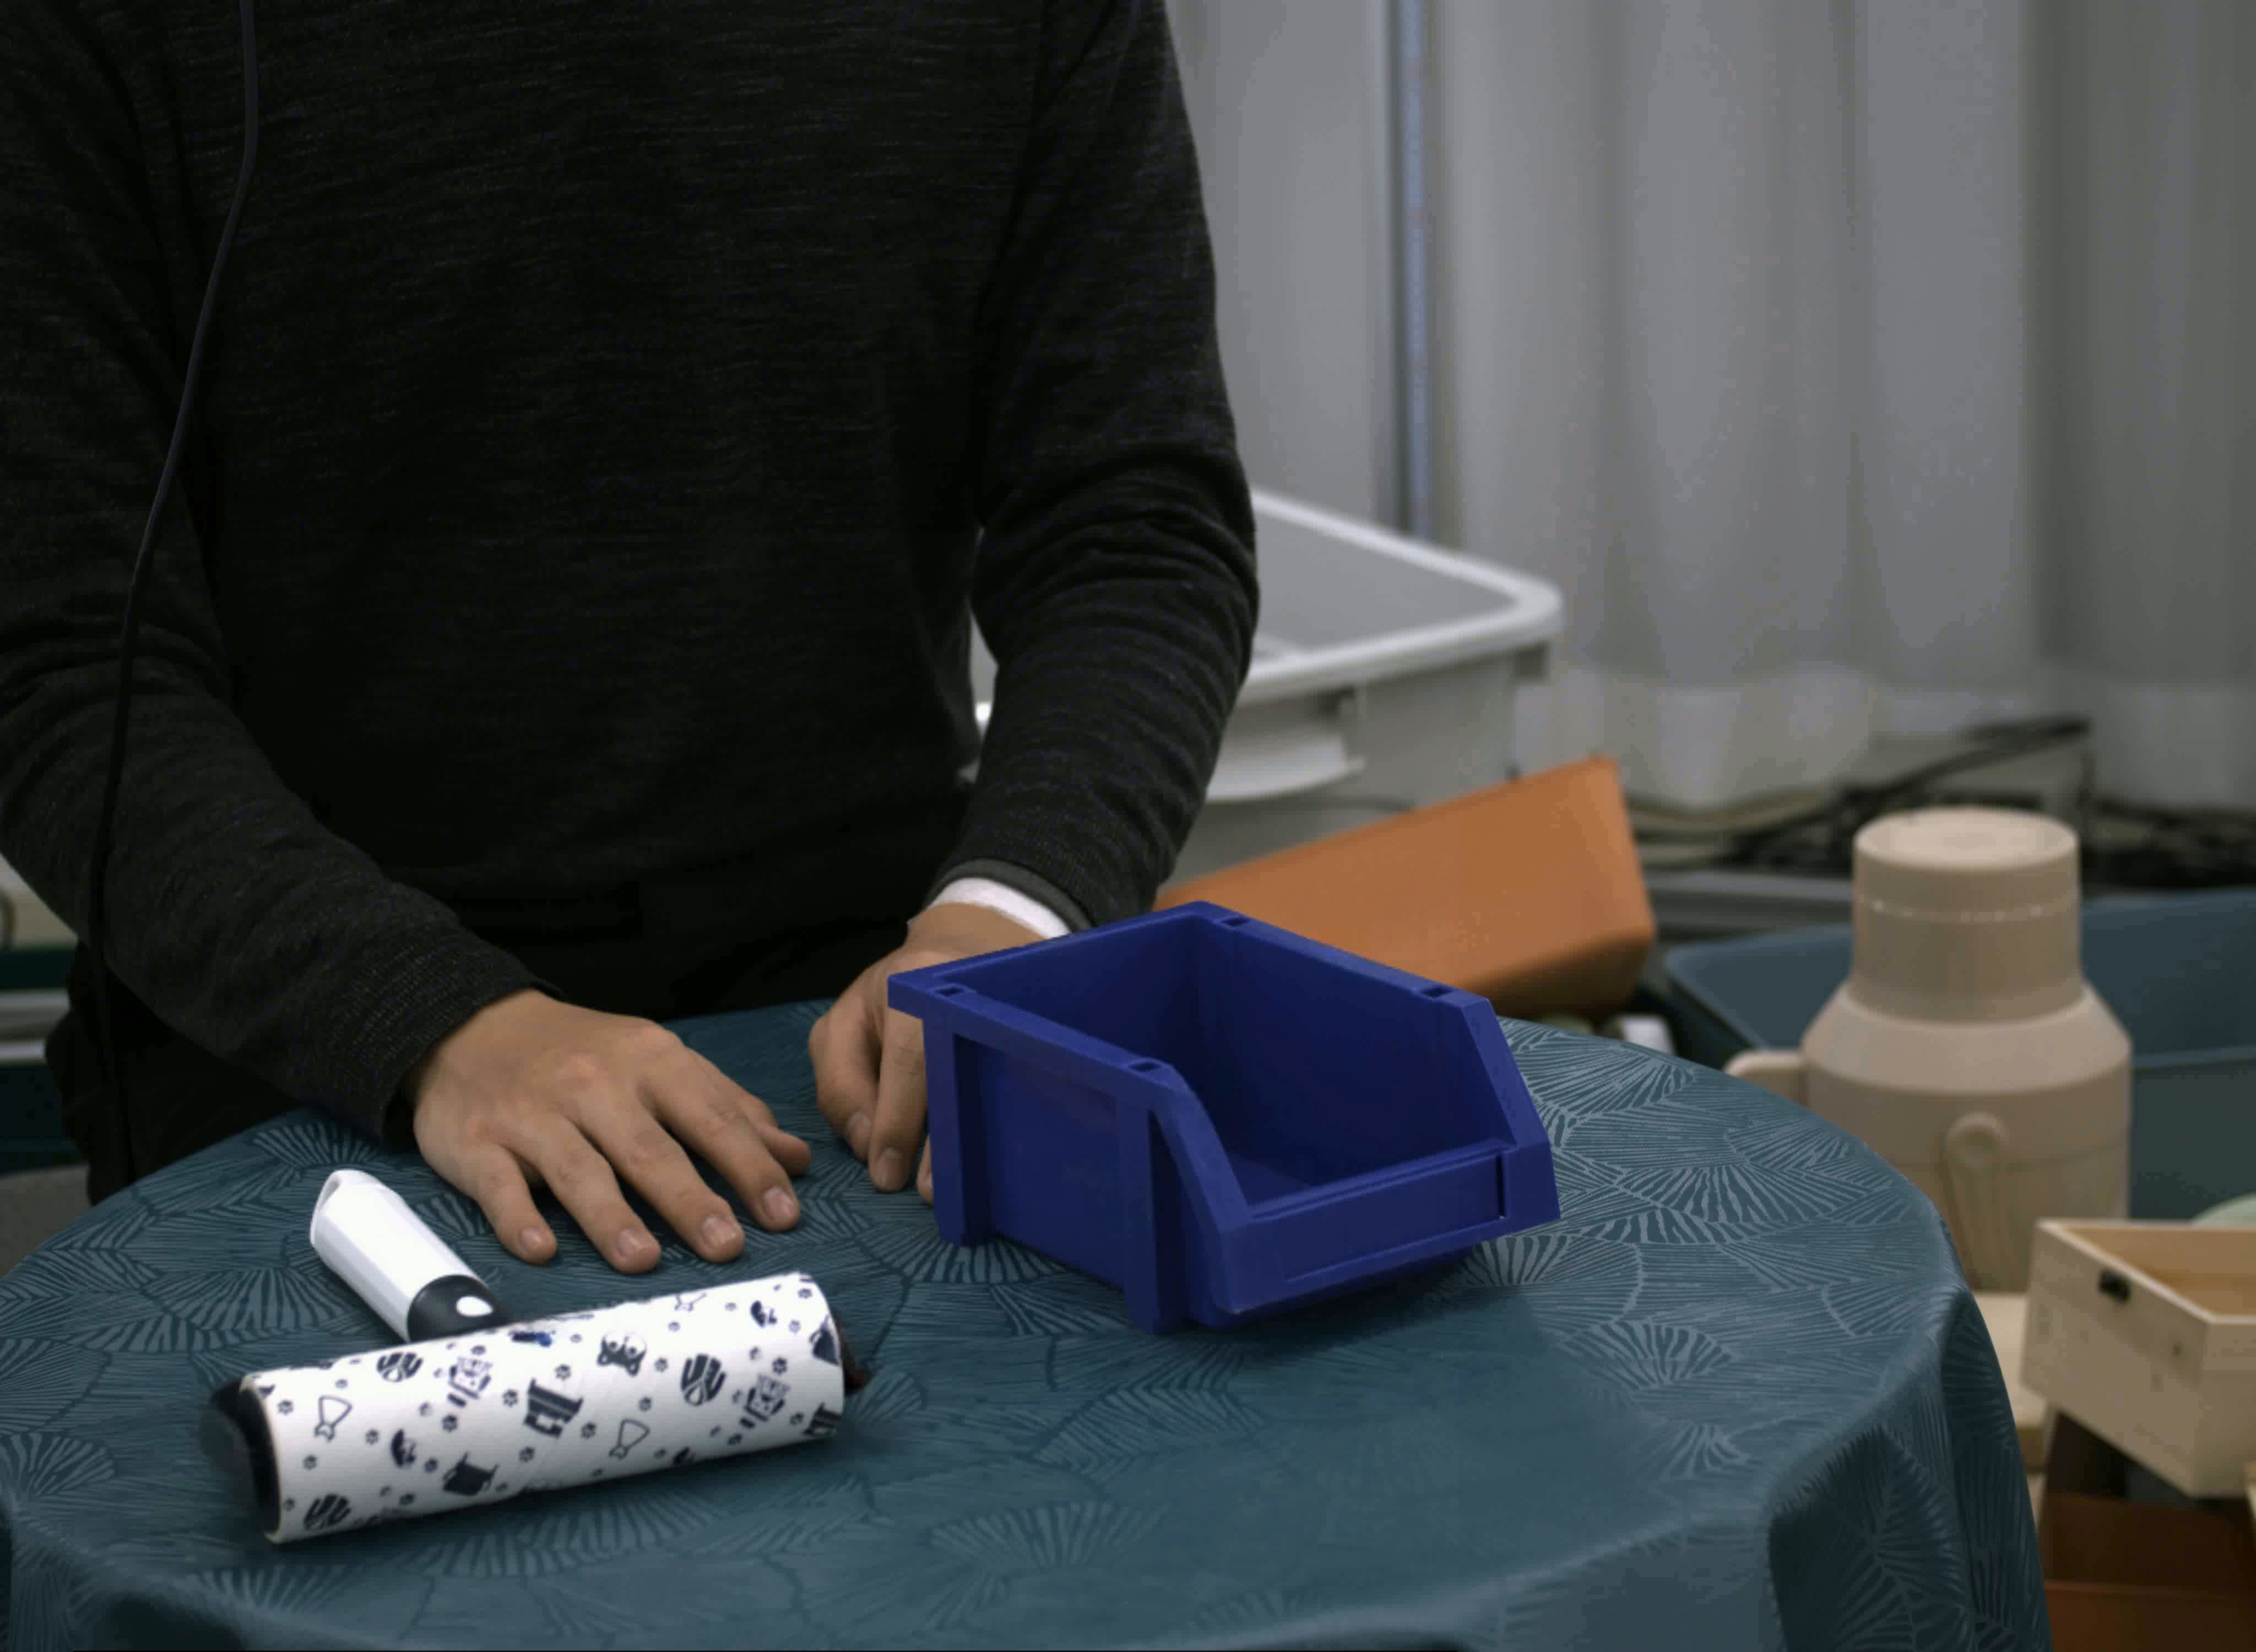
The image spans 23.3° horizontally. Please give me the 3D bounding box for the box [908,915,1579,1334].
[{"bbox_3d":[0.035,0.090,1.641,0.124,0.081,0.180,-12,14,-31],"label":"box"}]

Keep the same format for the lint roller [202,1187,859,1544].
[{"bbox_3d":[-0.200,0.138,1.582,0.175,0.050,0.249,-10,15,-21],"label":"lint roller"}]
